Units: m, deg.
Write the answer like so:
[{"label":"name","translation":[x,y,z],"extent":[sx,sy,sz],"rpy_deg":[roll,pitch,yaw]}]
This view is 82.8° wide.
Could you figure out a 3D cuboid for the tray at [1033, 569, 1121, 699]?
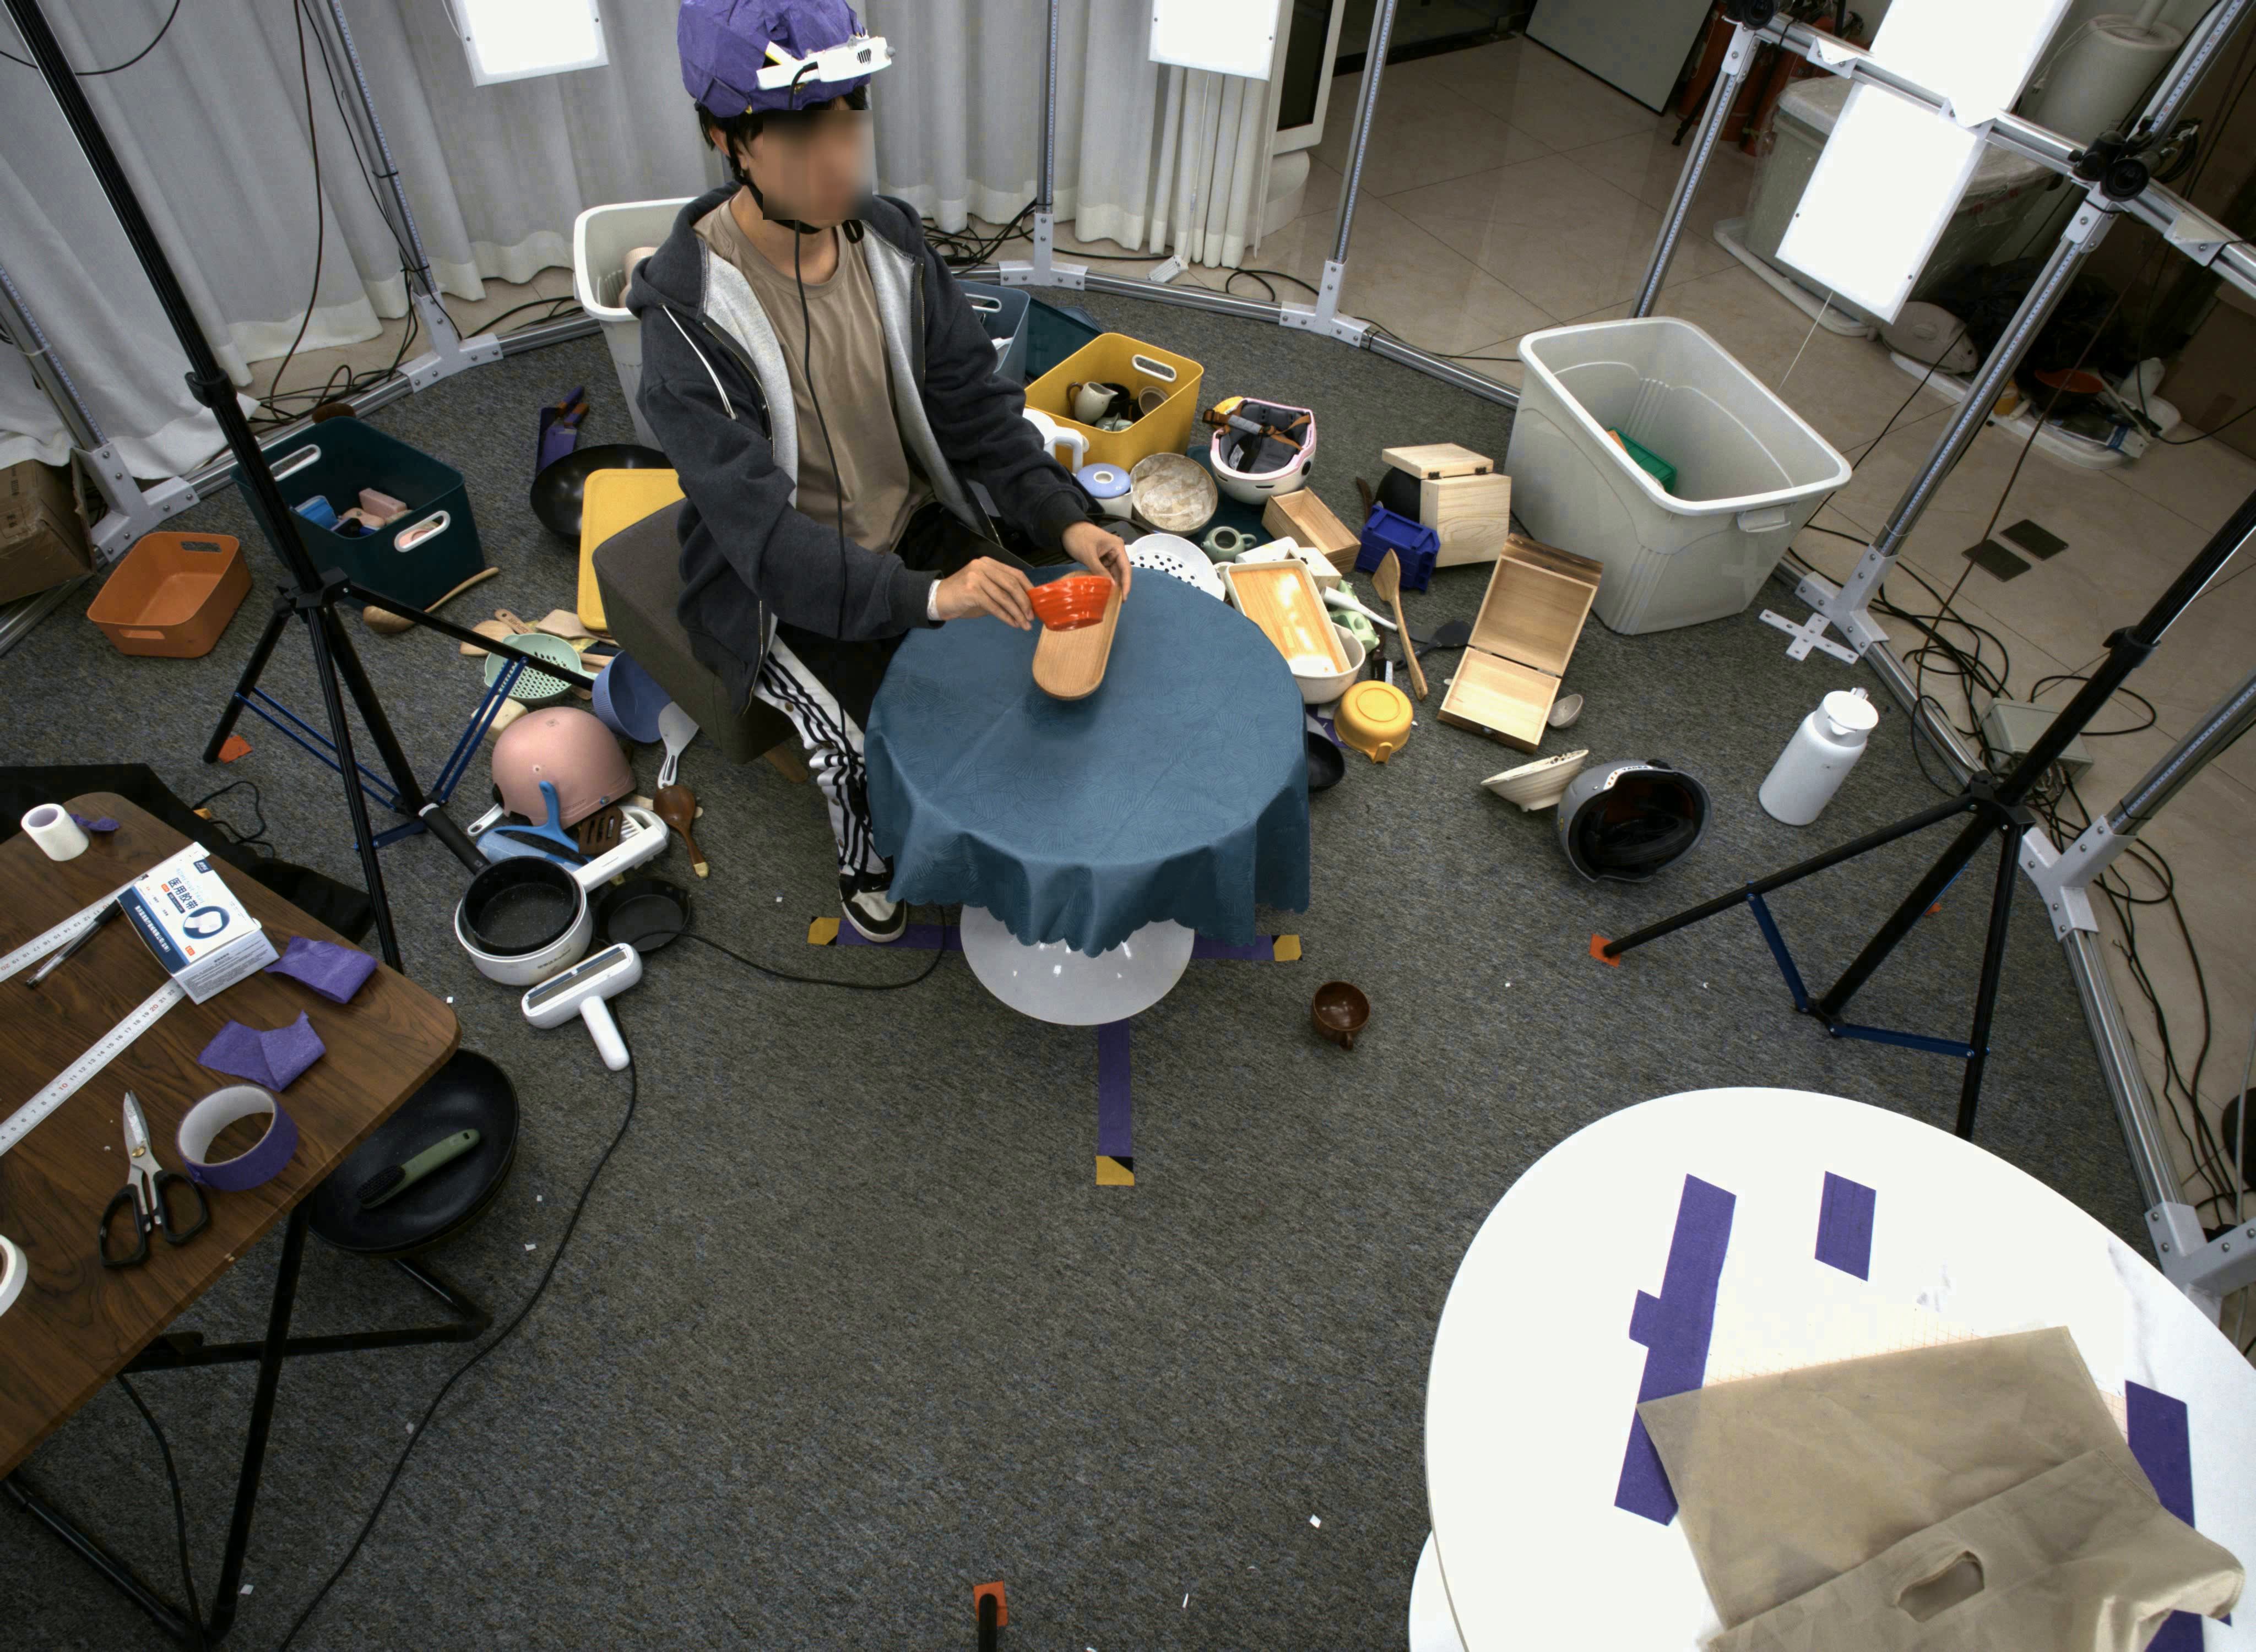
[{"label":"tray","translation":[-0.071,-0.275,1.823],"extent":[0.102,0.020,0.236],"rpy_deg":[9,56,3]}]

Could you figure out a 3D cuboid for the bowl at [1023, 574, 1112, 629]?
[{"label":"bowl","translation":[-0.074,-0.286,1.657],"extent":[0.119,0.119,0.051],"rpy_deg":[-10,91,-13]}]
